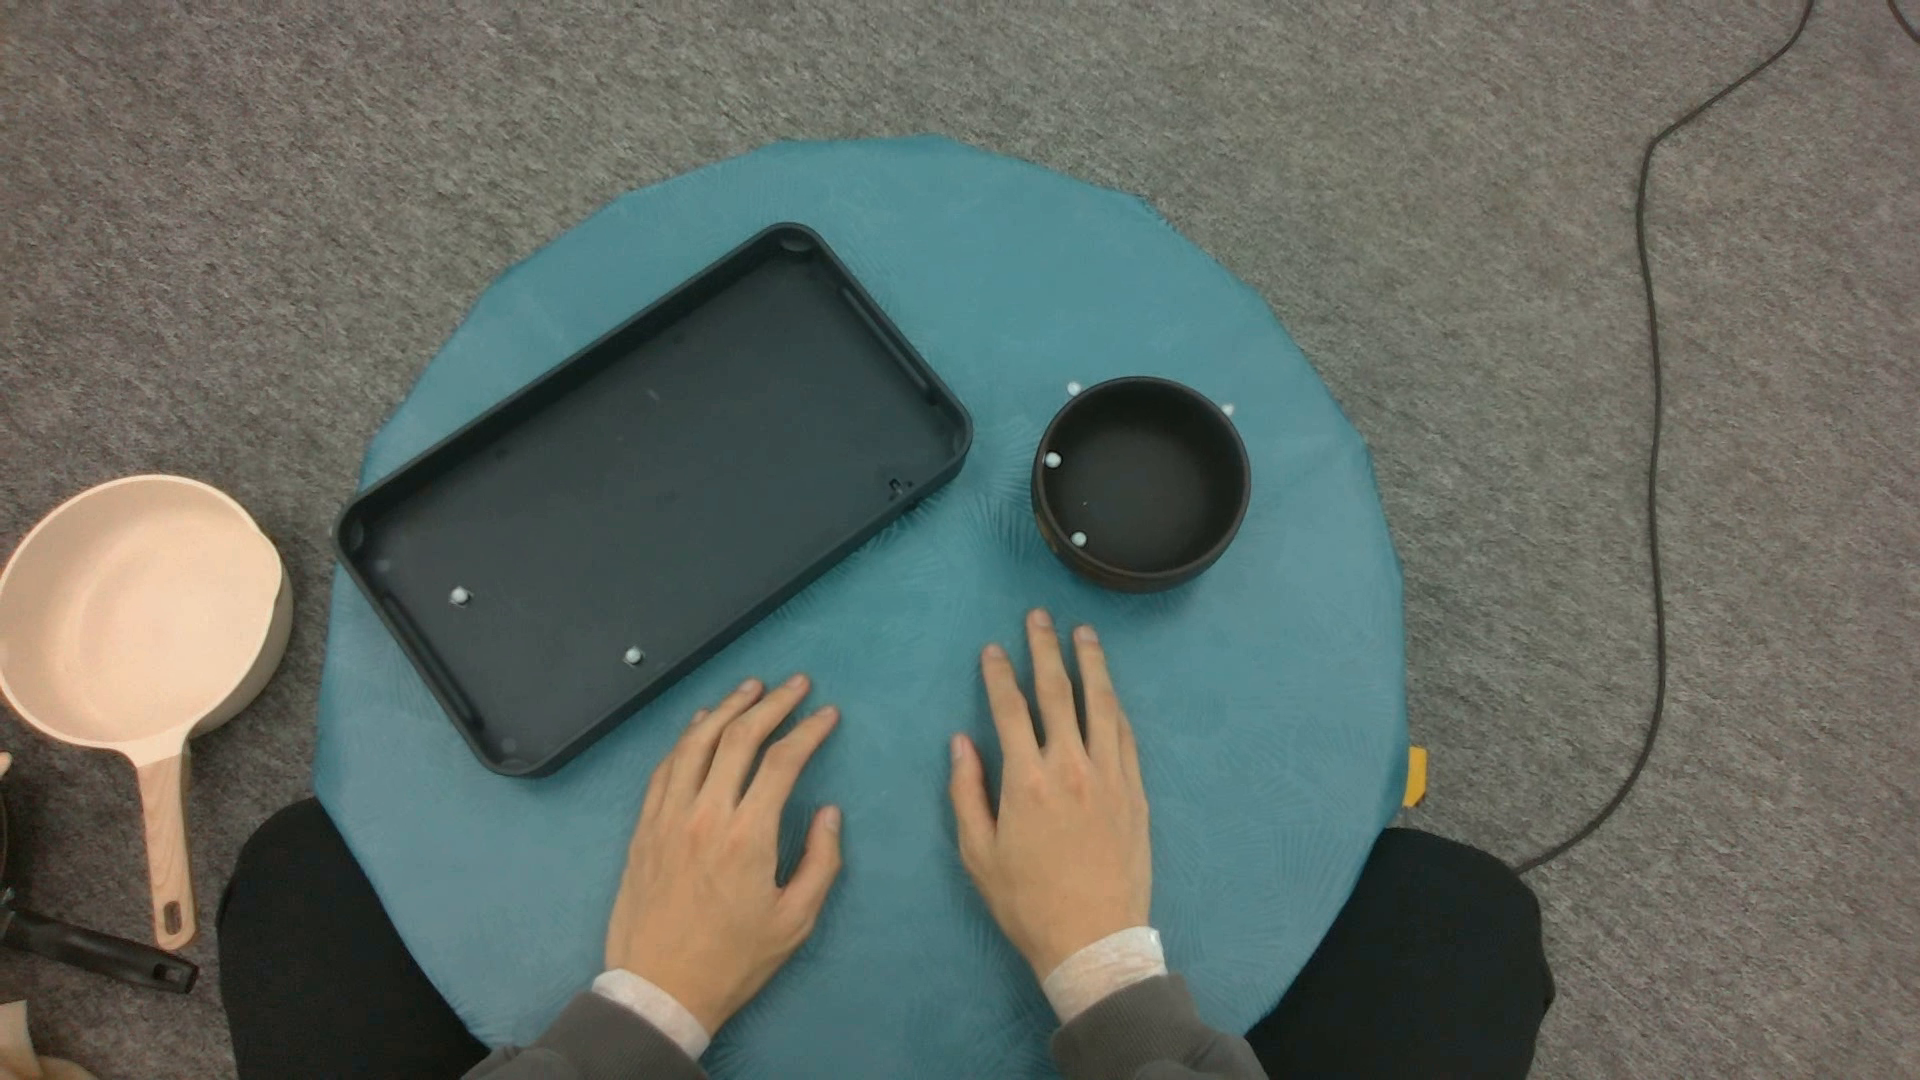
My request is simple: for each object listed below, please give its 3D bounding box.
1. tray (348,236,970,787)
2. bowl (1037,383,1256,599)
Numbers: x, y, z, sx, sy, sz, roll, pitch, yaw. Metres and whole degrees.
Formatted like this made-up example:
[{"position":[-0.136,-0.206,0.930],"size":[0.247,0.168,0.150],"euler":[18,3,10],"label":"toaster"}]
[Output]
[{"position":[-0.165,-0.022,0.783],"size":[0.318,0.037,0.184],"euler":[-38,78,-13],"label":"tray"},{"position":[0.101,-0.023,0.770],"size":[0.118,0.069,0.118],"euler":[0,74,-2],"label":"bowl"}]
